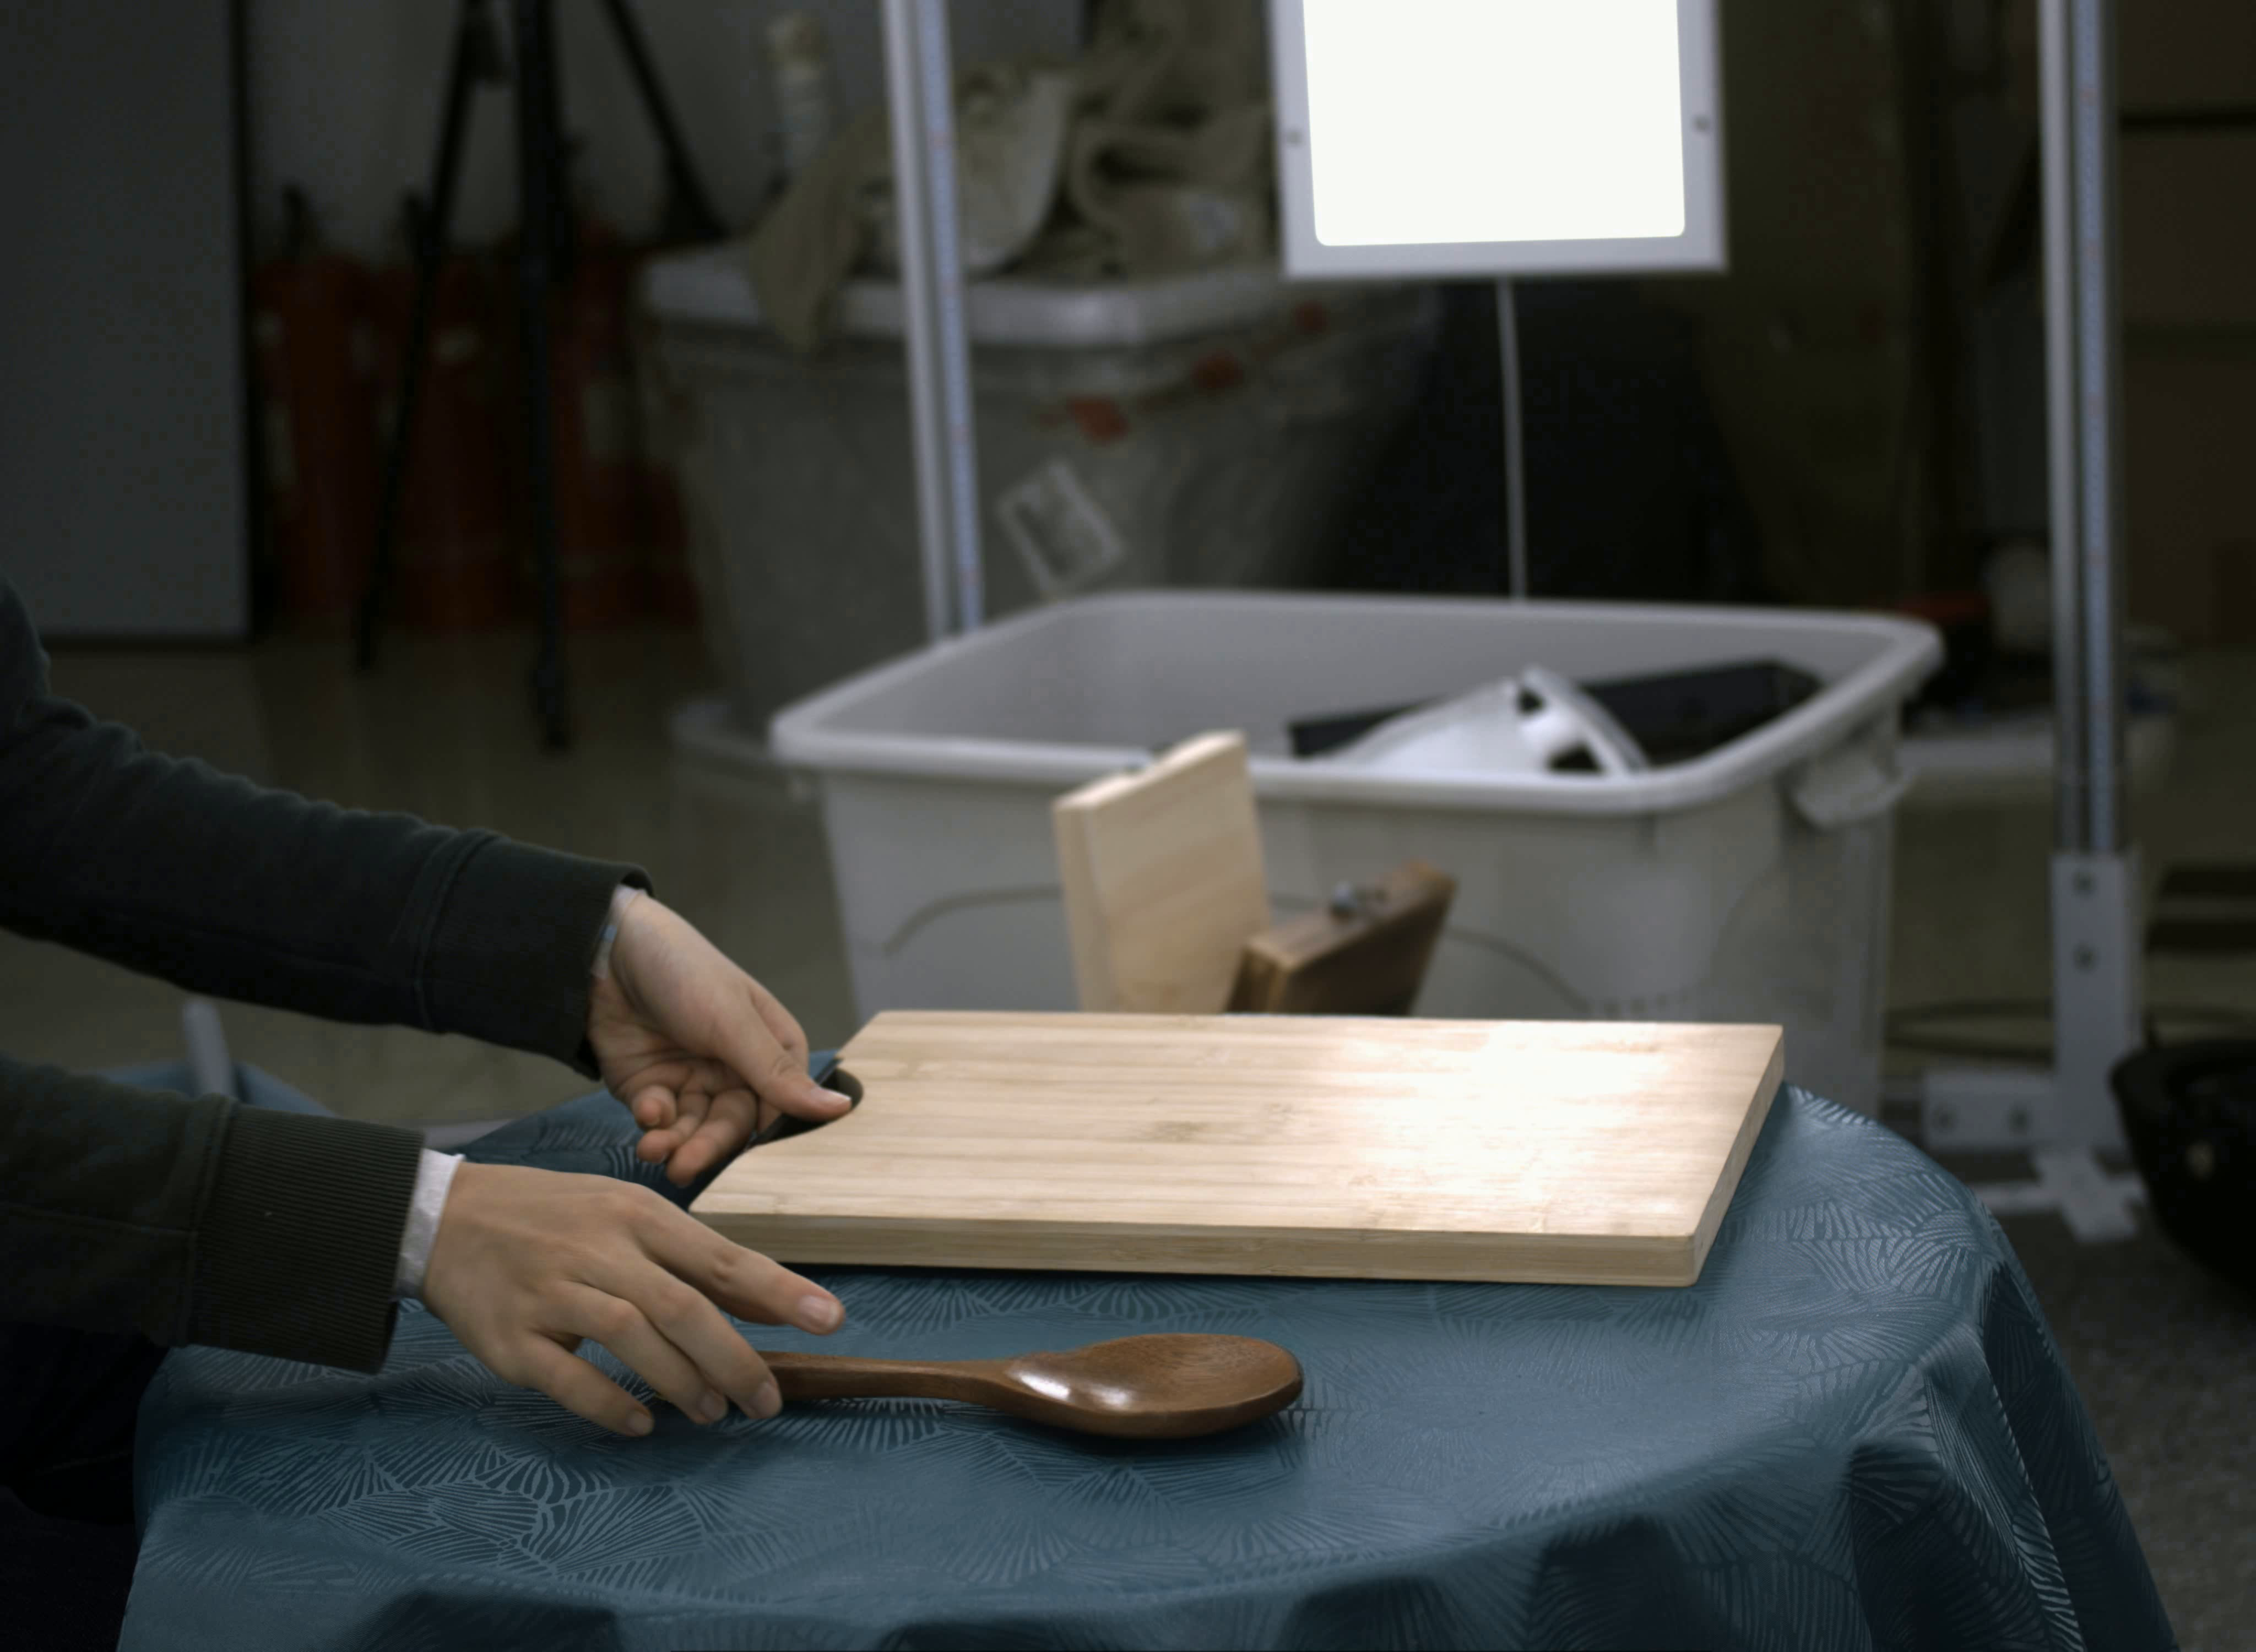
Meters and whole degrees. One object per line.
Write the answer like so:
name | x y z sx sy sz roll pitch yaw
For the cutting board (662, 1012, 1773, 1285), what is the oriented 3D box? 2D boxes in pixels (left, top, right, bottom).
cutting board | 0.038 0.109 1.909 0.352 0.024 0.247 0 14 15

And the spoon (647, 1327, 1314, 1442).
spoon | -0.047 0.171 1.695 0.219 0.017 0.074 1 16 20
